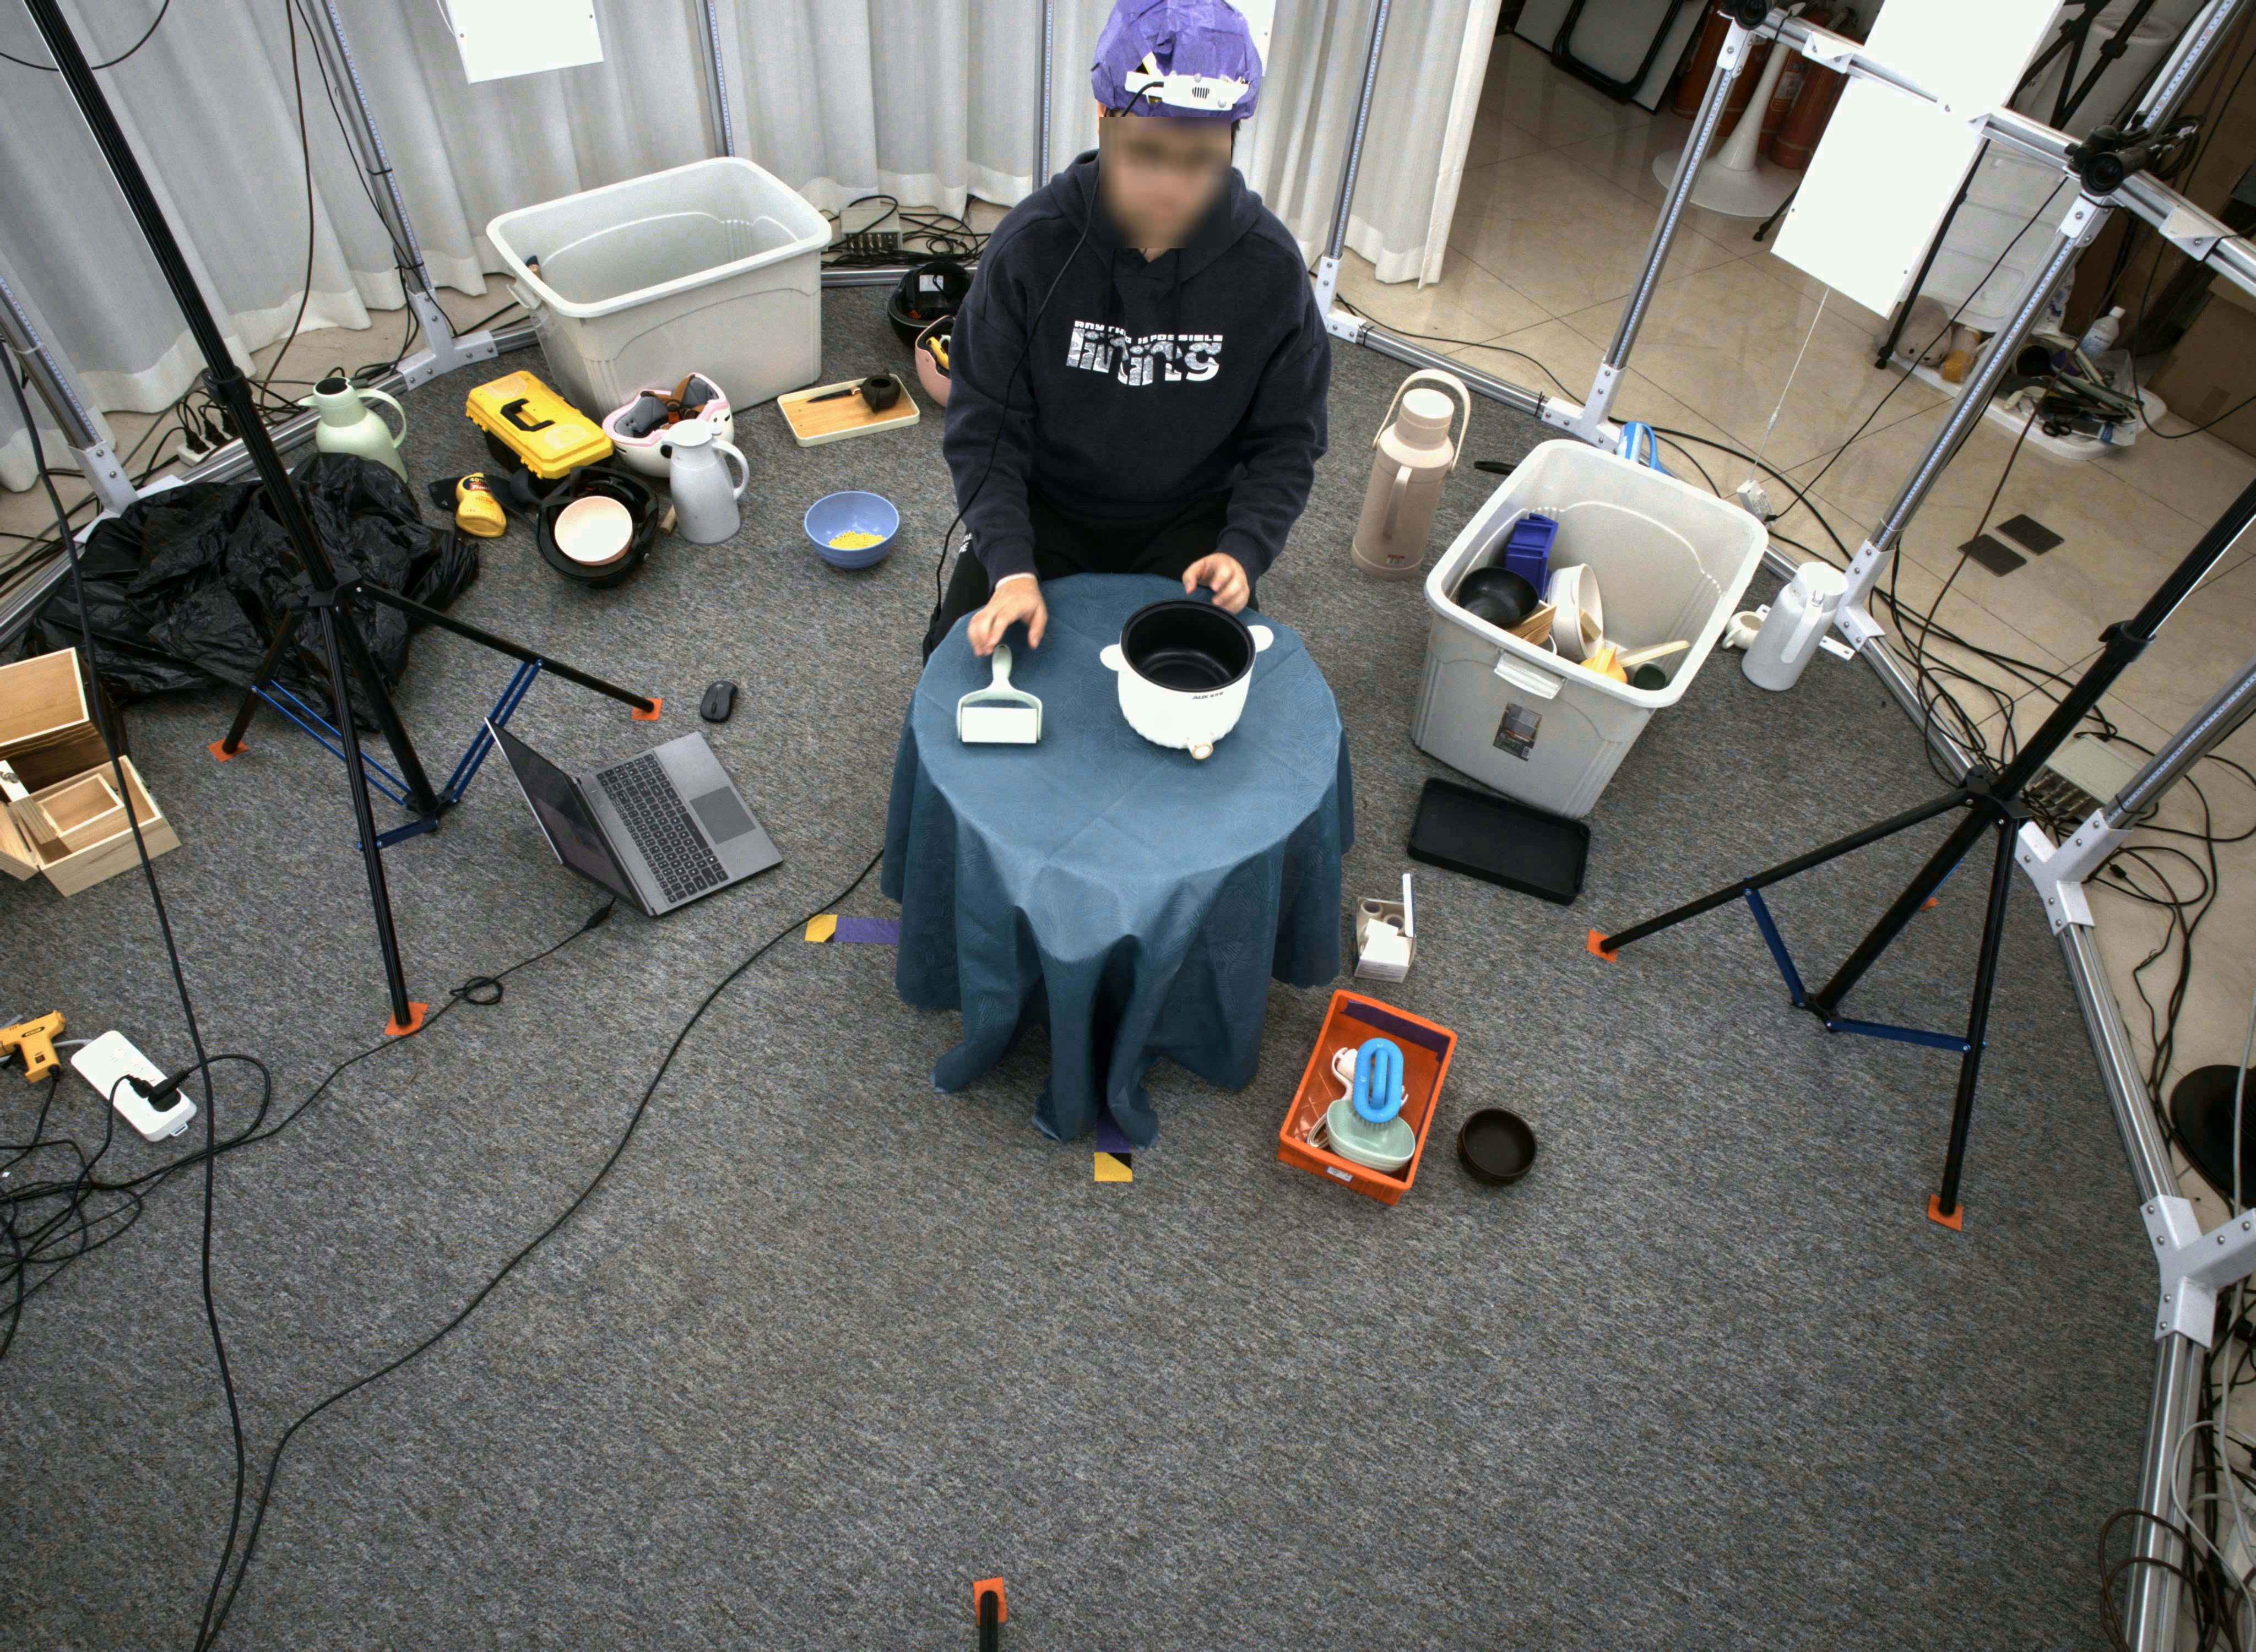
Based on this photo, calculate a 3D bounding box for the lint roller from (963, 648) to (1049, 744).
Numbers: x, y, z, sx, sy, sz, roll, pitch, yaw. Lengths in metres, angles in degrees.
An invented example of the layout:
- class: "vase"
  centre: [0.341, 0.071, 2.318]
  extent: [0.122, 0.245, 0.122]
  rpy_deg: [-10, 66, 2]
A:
- class: "lint roller"
  centre: [-0.168, -0.192, 1.791]
  extent: [0.116, 0.047, 0.202]
  rpy_deg: [-2, 47, -2]

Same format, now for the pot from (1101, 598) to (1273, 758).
- class: "pot"
  centre: [0.079, -0.199, 1.754]
  extent: [0.240, 0.139, 0.195]
  rpy_deg: [-11, 48, -12]
